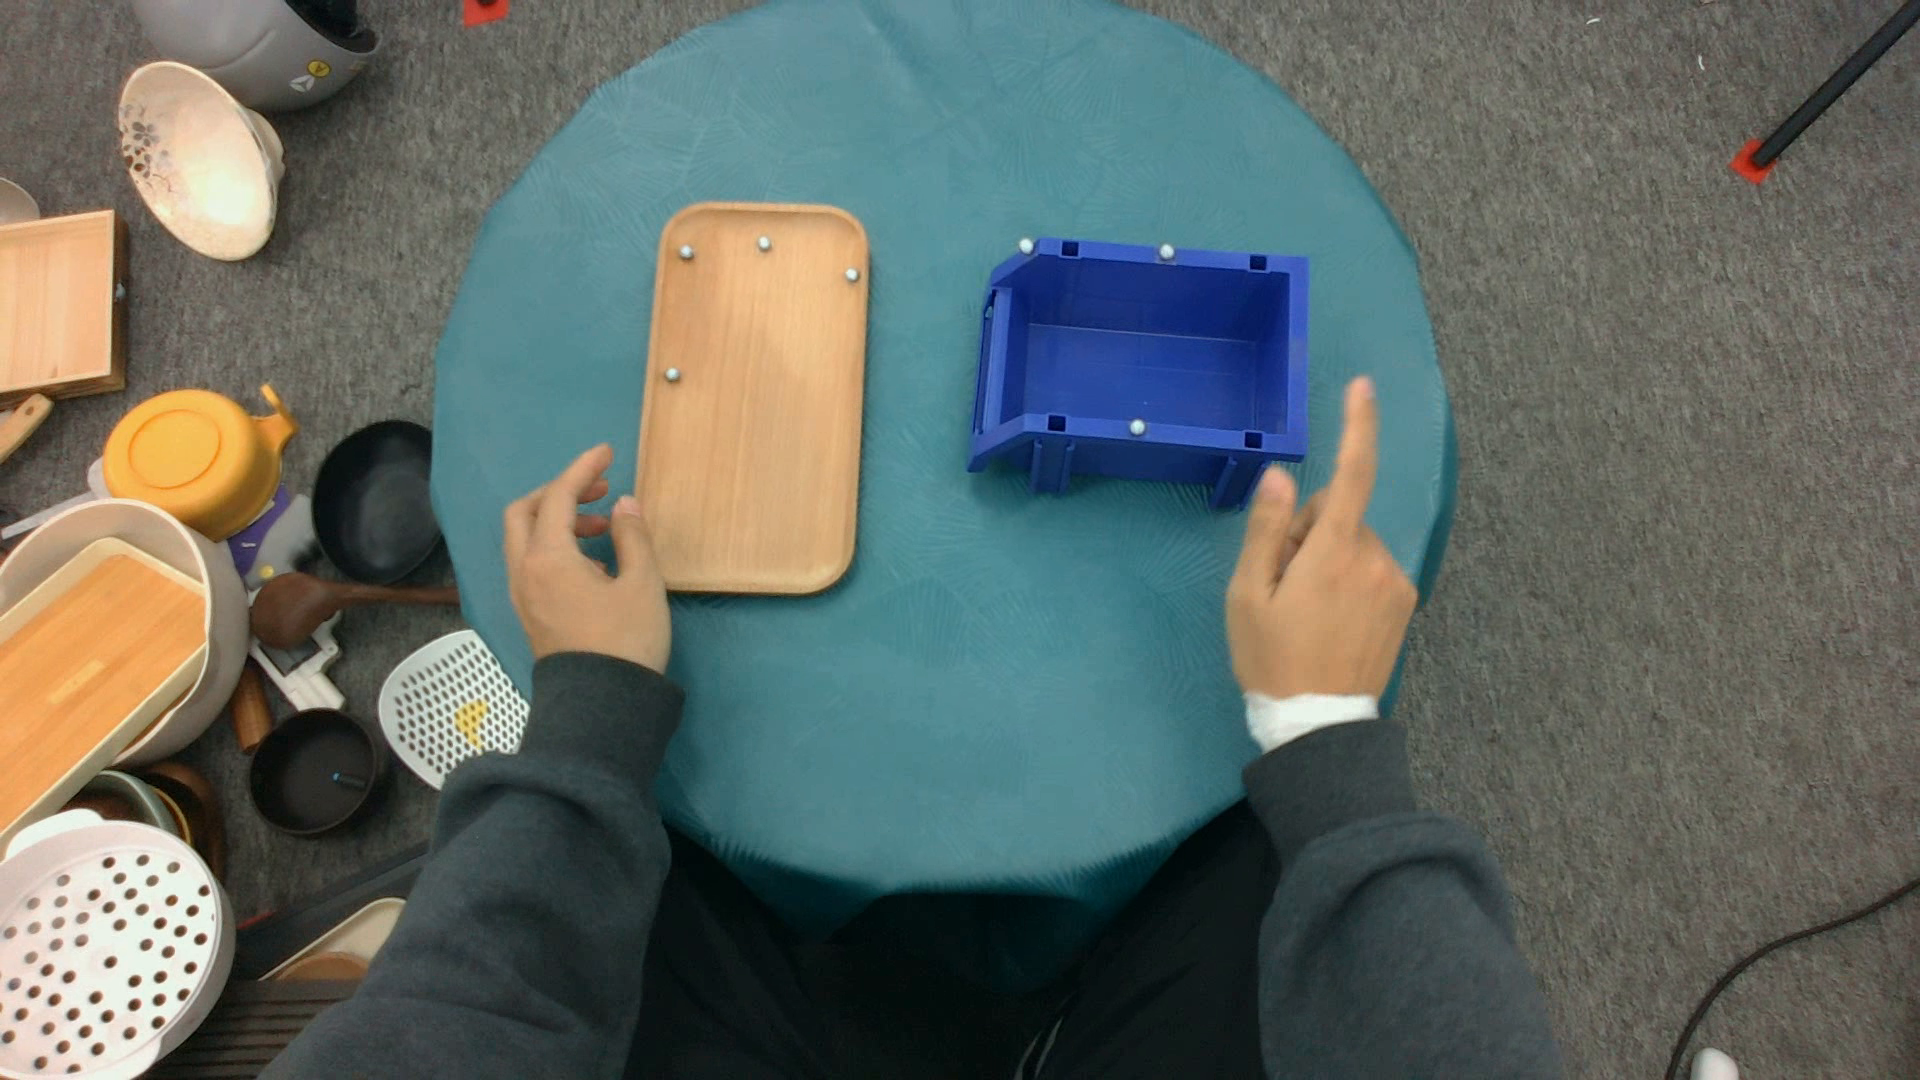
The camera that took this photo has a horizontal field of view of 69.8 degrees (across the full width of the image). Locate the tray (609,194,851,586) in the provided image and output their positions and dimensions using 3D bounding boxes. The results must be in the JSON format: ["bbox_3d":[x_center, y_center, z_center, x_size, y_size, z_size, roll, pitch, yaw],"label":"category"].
[{"bbox_3d":[-0.130,-0.092,0.805,0.130,0.023,0.251,0,70,2],"label":"tray"}]

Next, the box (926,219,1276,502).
[{"bbox_3d":[0.077,-0.100,0.779,0.179,0.081,0.125,8,70,-2],"label":"box"}]
